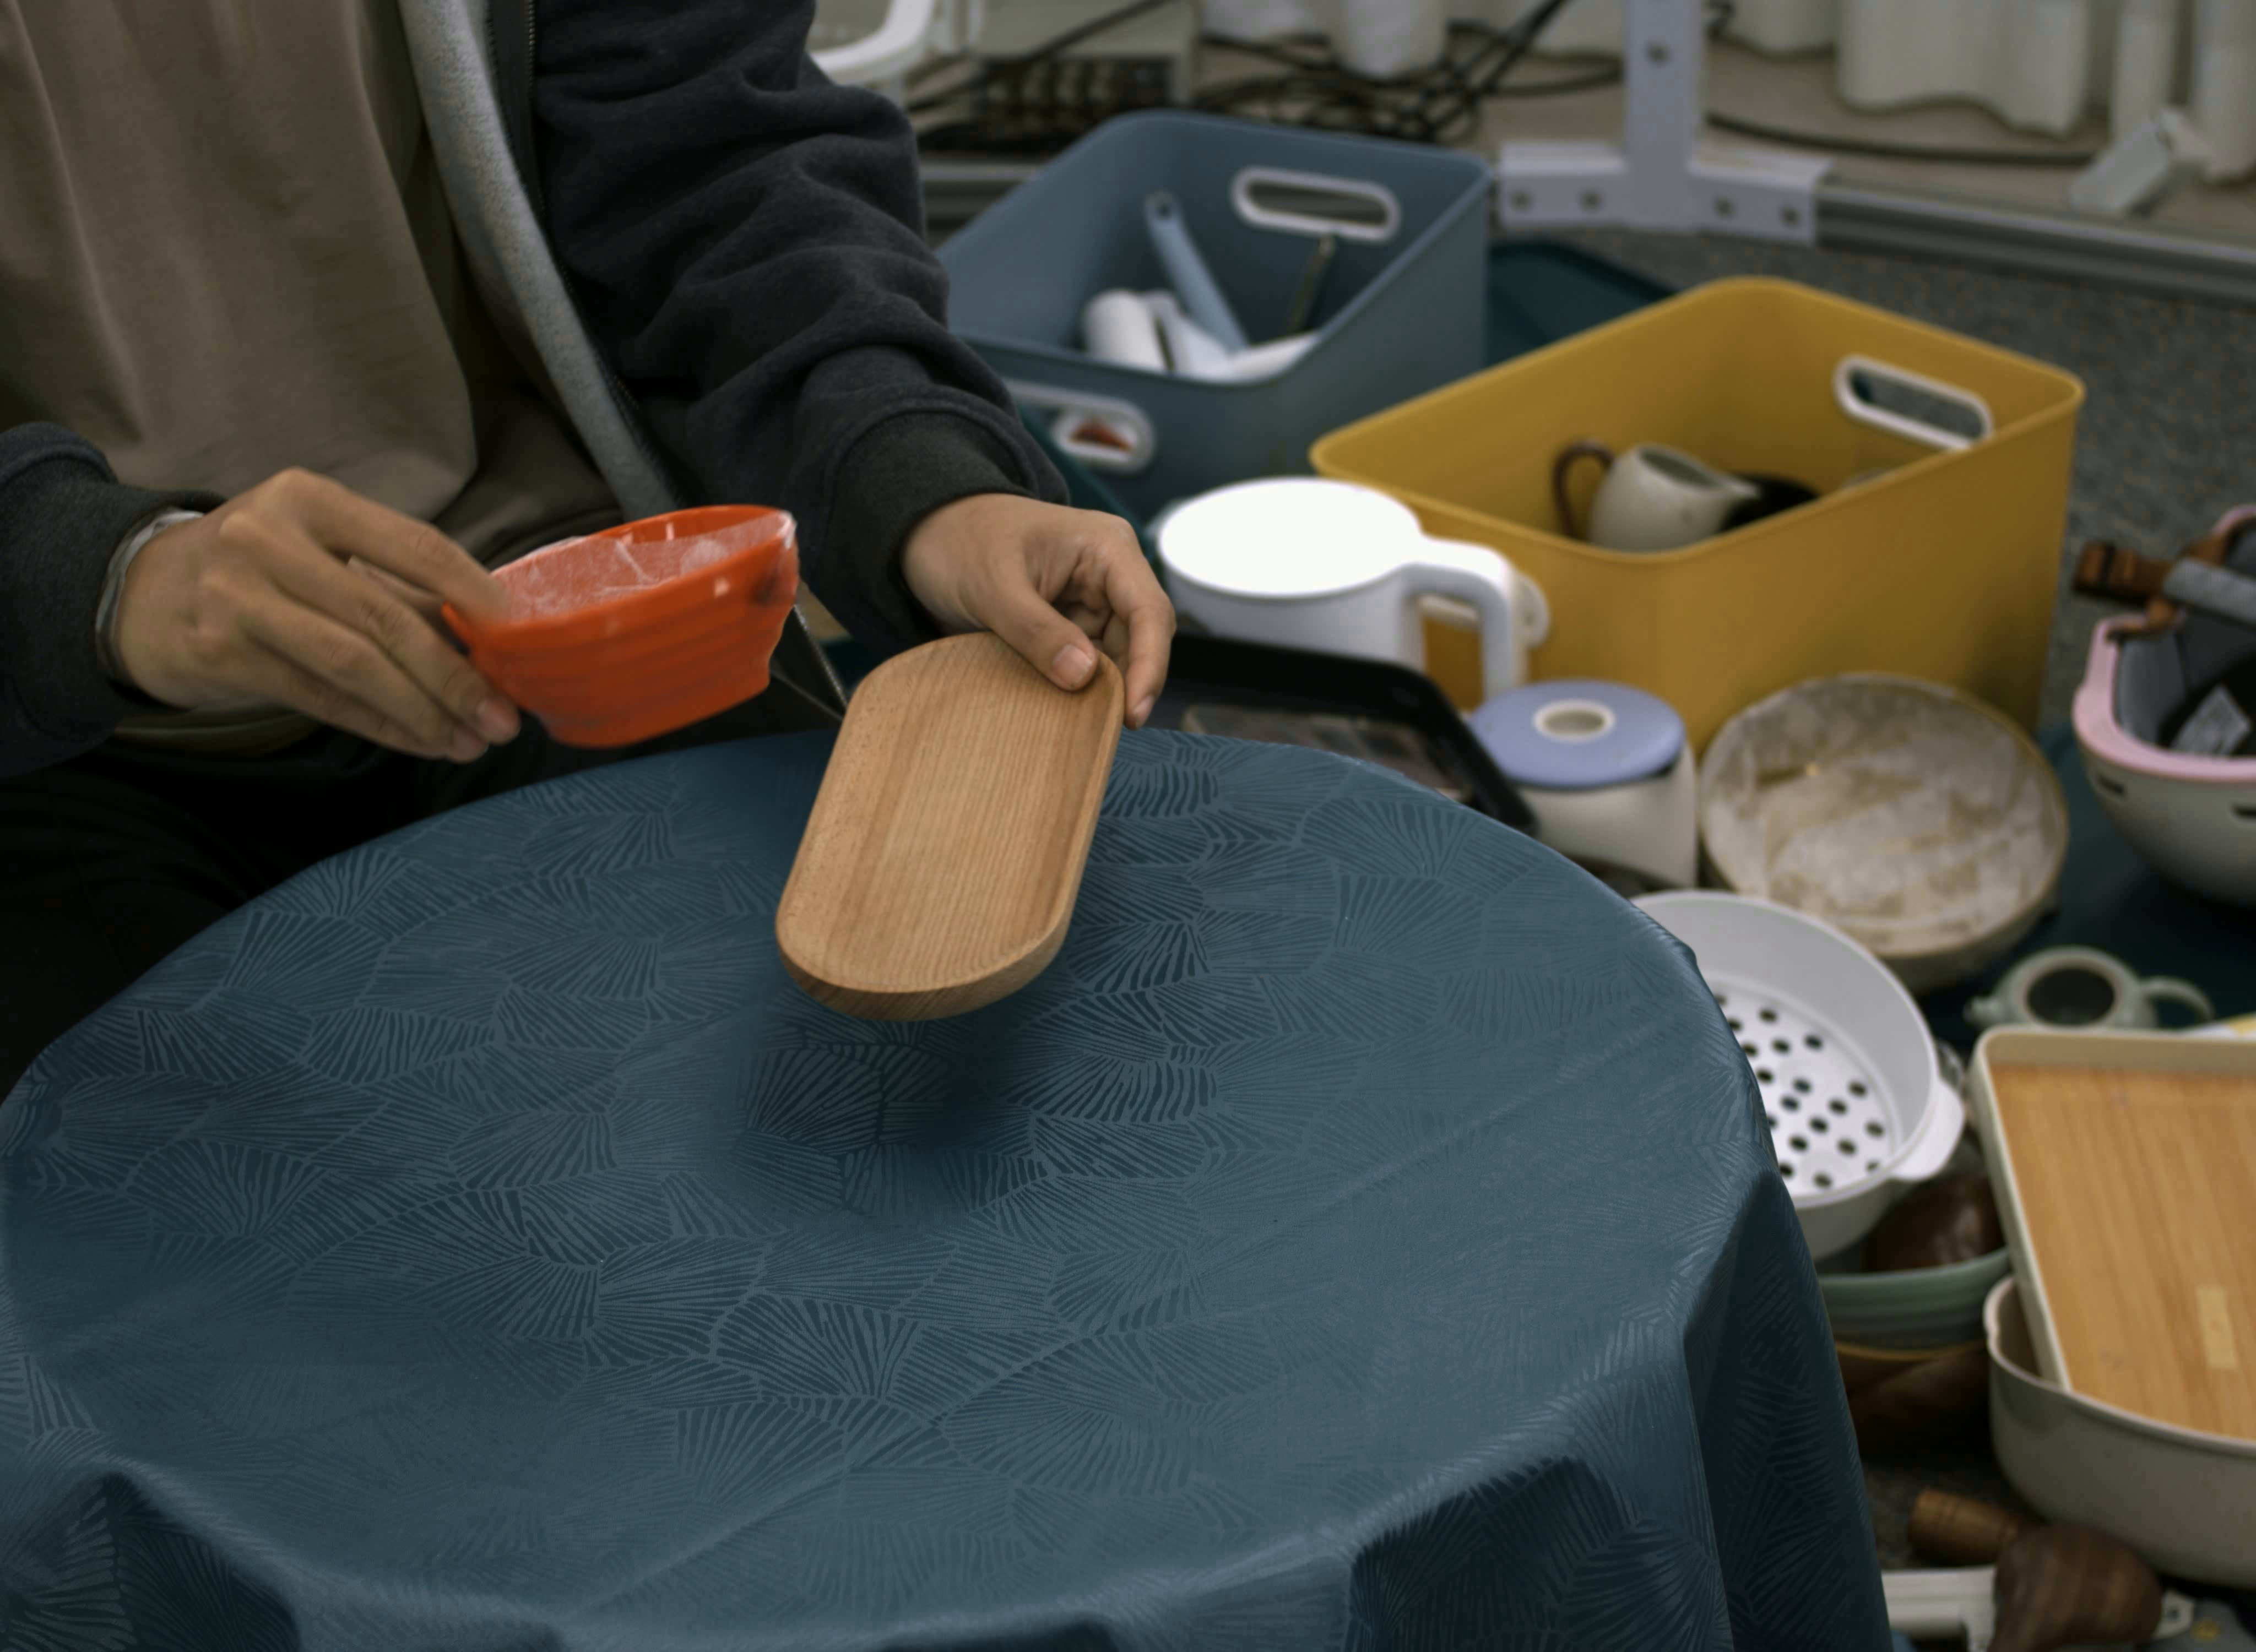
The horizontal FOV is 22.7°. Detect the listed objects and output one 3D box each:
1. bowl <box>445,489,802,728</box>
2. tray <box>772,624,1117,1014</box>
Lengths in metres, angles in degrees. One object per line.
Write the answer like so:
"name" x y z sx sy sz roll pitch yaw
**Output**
"bowl" -0.155 -0.066 1.788 0.118 0.051 0.120 -14 14 4
"tray" -0.062 -0.005 1.956 0.101 0.020 0.235 0 31 8
